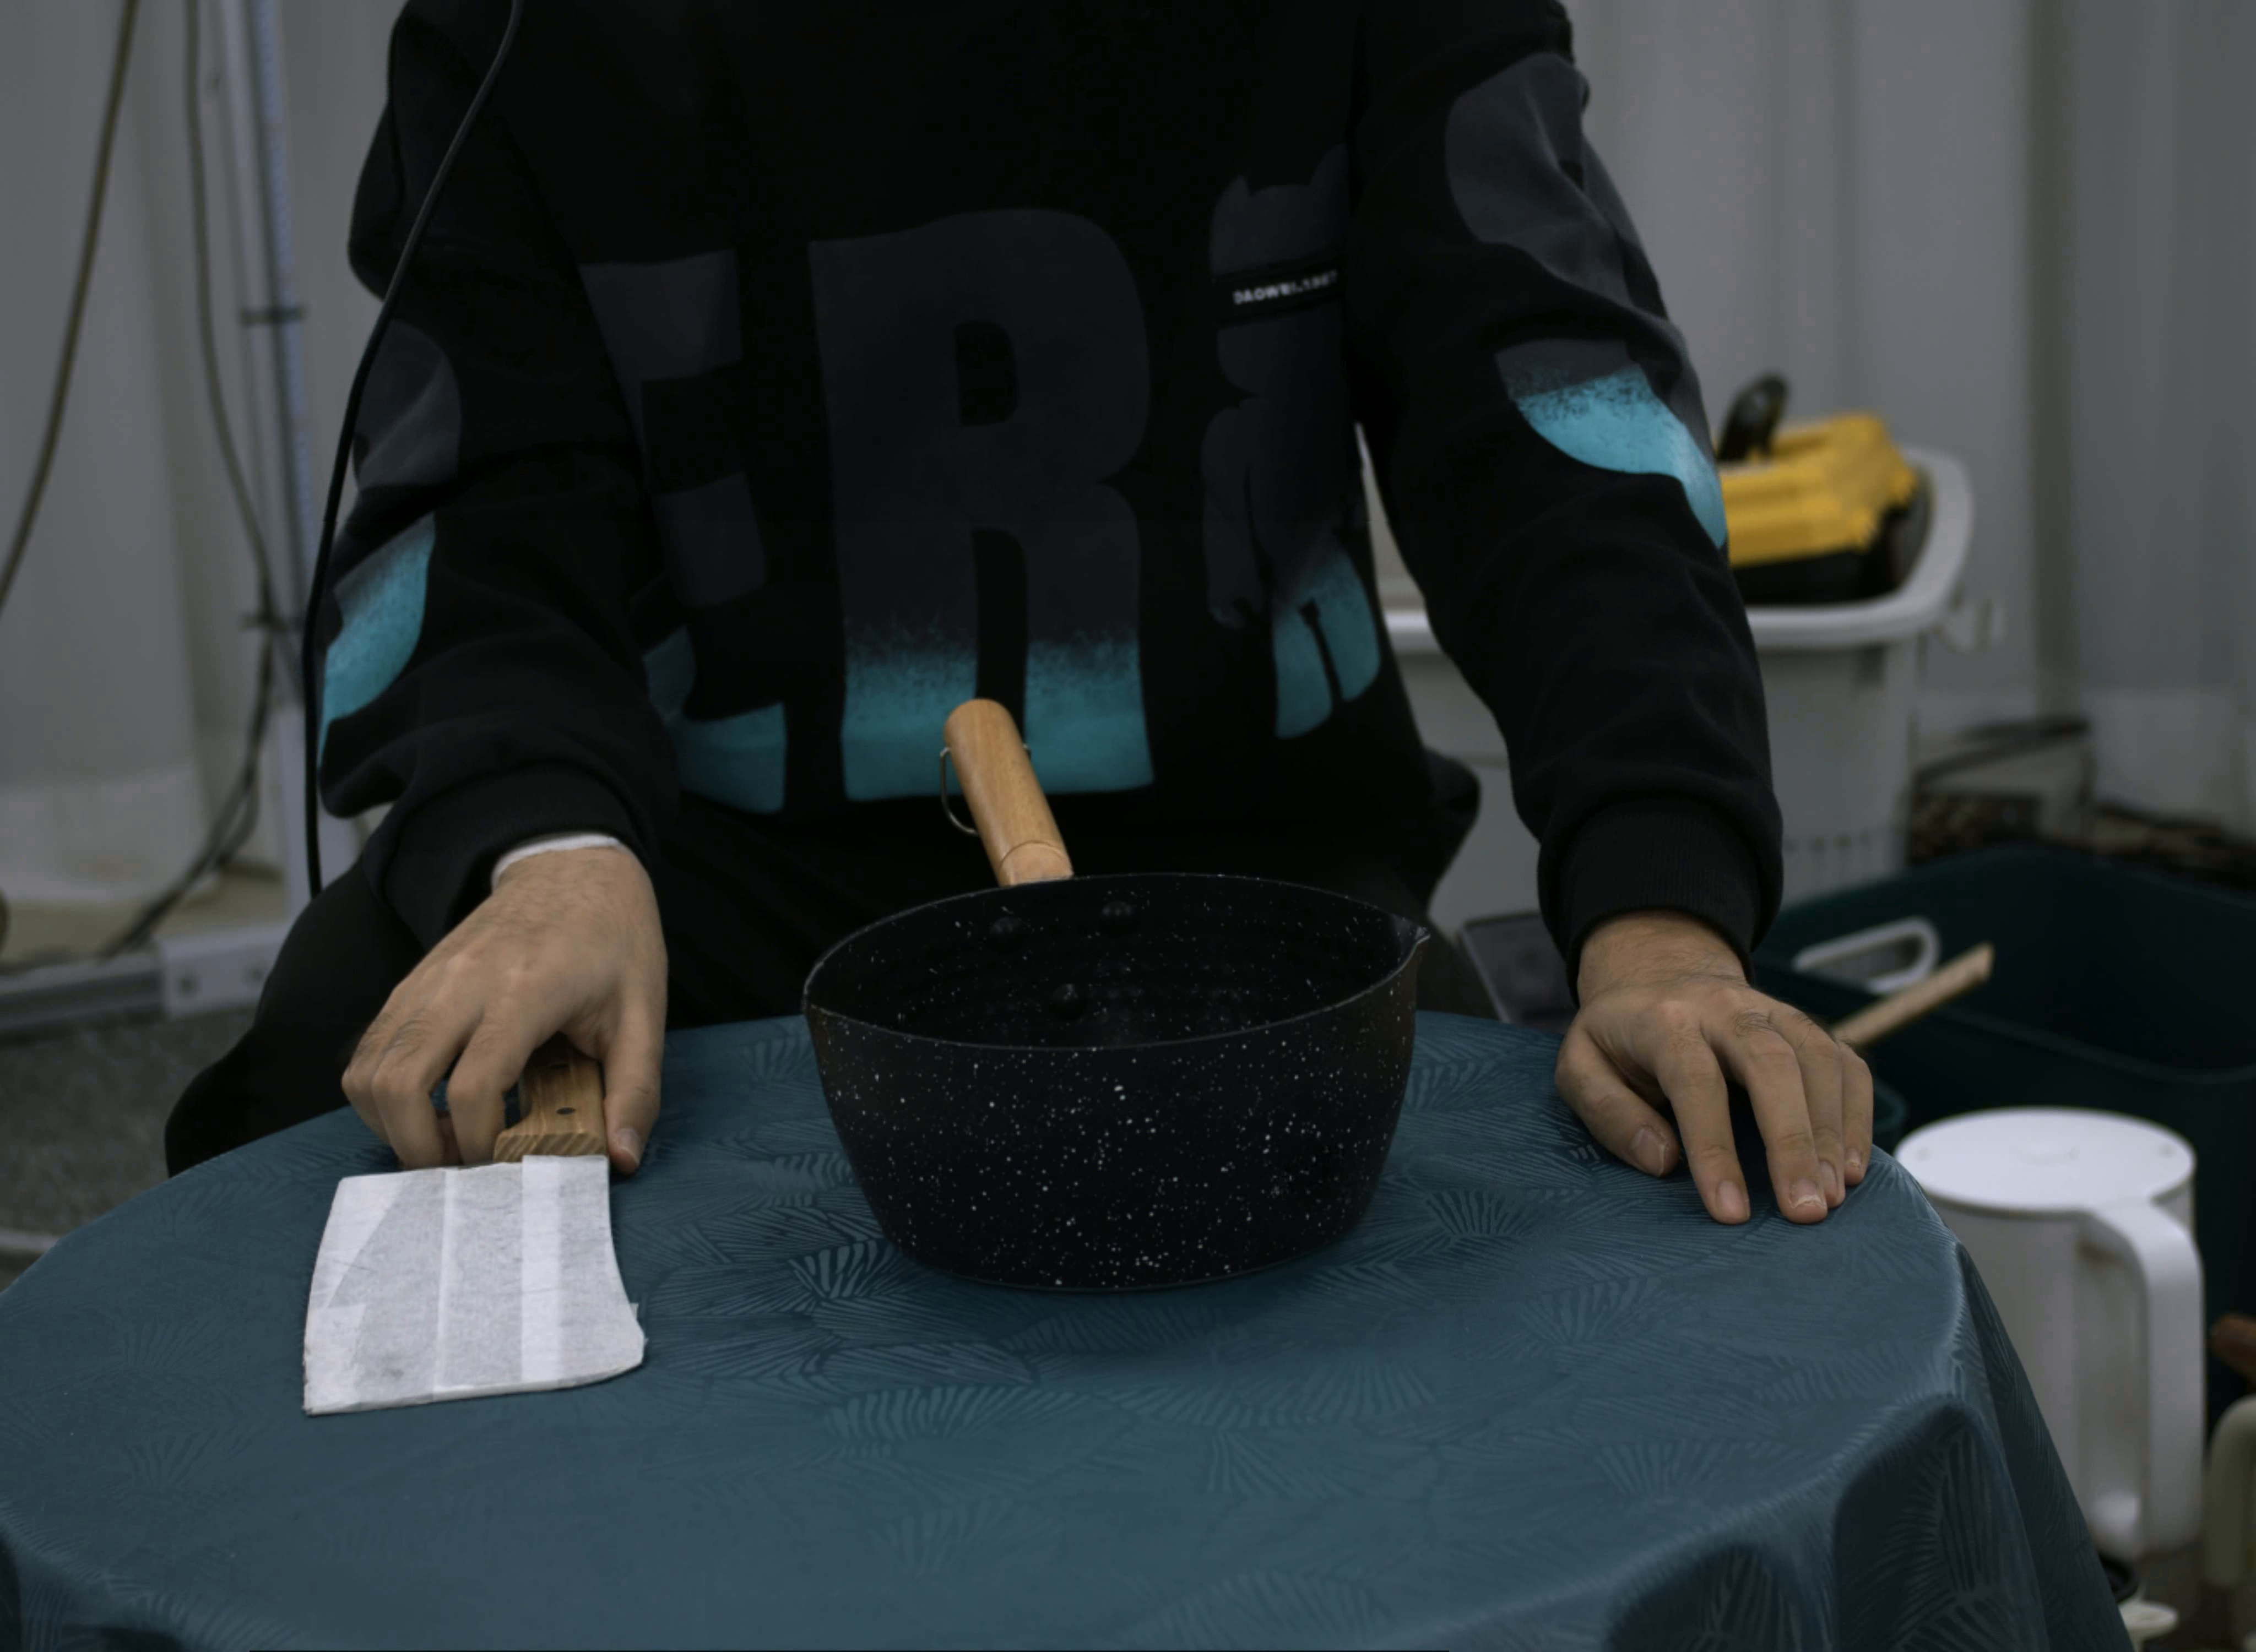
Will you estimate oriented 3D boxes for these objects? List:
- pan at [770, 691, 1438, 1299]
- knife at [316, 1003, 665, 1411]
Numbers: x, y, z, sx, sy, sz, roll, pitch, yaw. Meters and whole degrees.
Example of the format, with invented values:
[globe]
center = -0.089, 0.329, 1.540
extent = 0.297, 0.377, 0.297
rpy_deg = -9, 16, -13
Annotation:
[pan]
center = -0.021, 0.049, 1.755
extent = 0.206, 0.108, 0.346
rpy_deg = -7, 17, -11
[knife]
center = -0.195, 0.117, 1.710
extent = 0.113, 0.021, 0.318
rpy_deg = -4, 18, -1
